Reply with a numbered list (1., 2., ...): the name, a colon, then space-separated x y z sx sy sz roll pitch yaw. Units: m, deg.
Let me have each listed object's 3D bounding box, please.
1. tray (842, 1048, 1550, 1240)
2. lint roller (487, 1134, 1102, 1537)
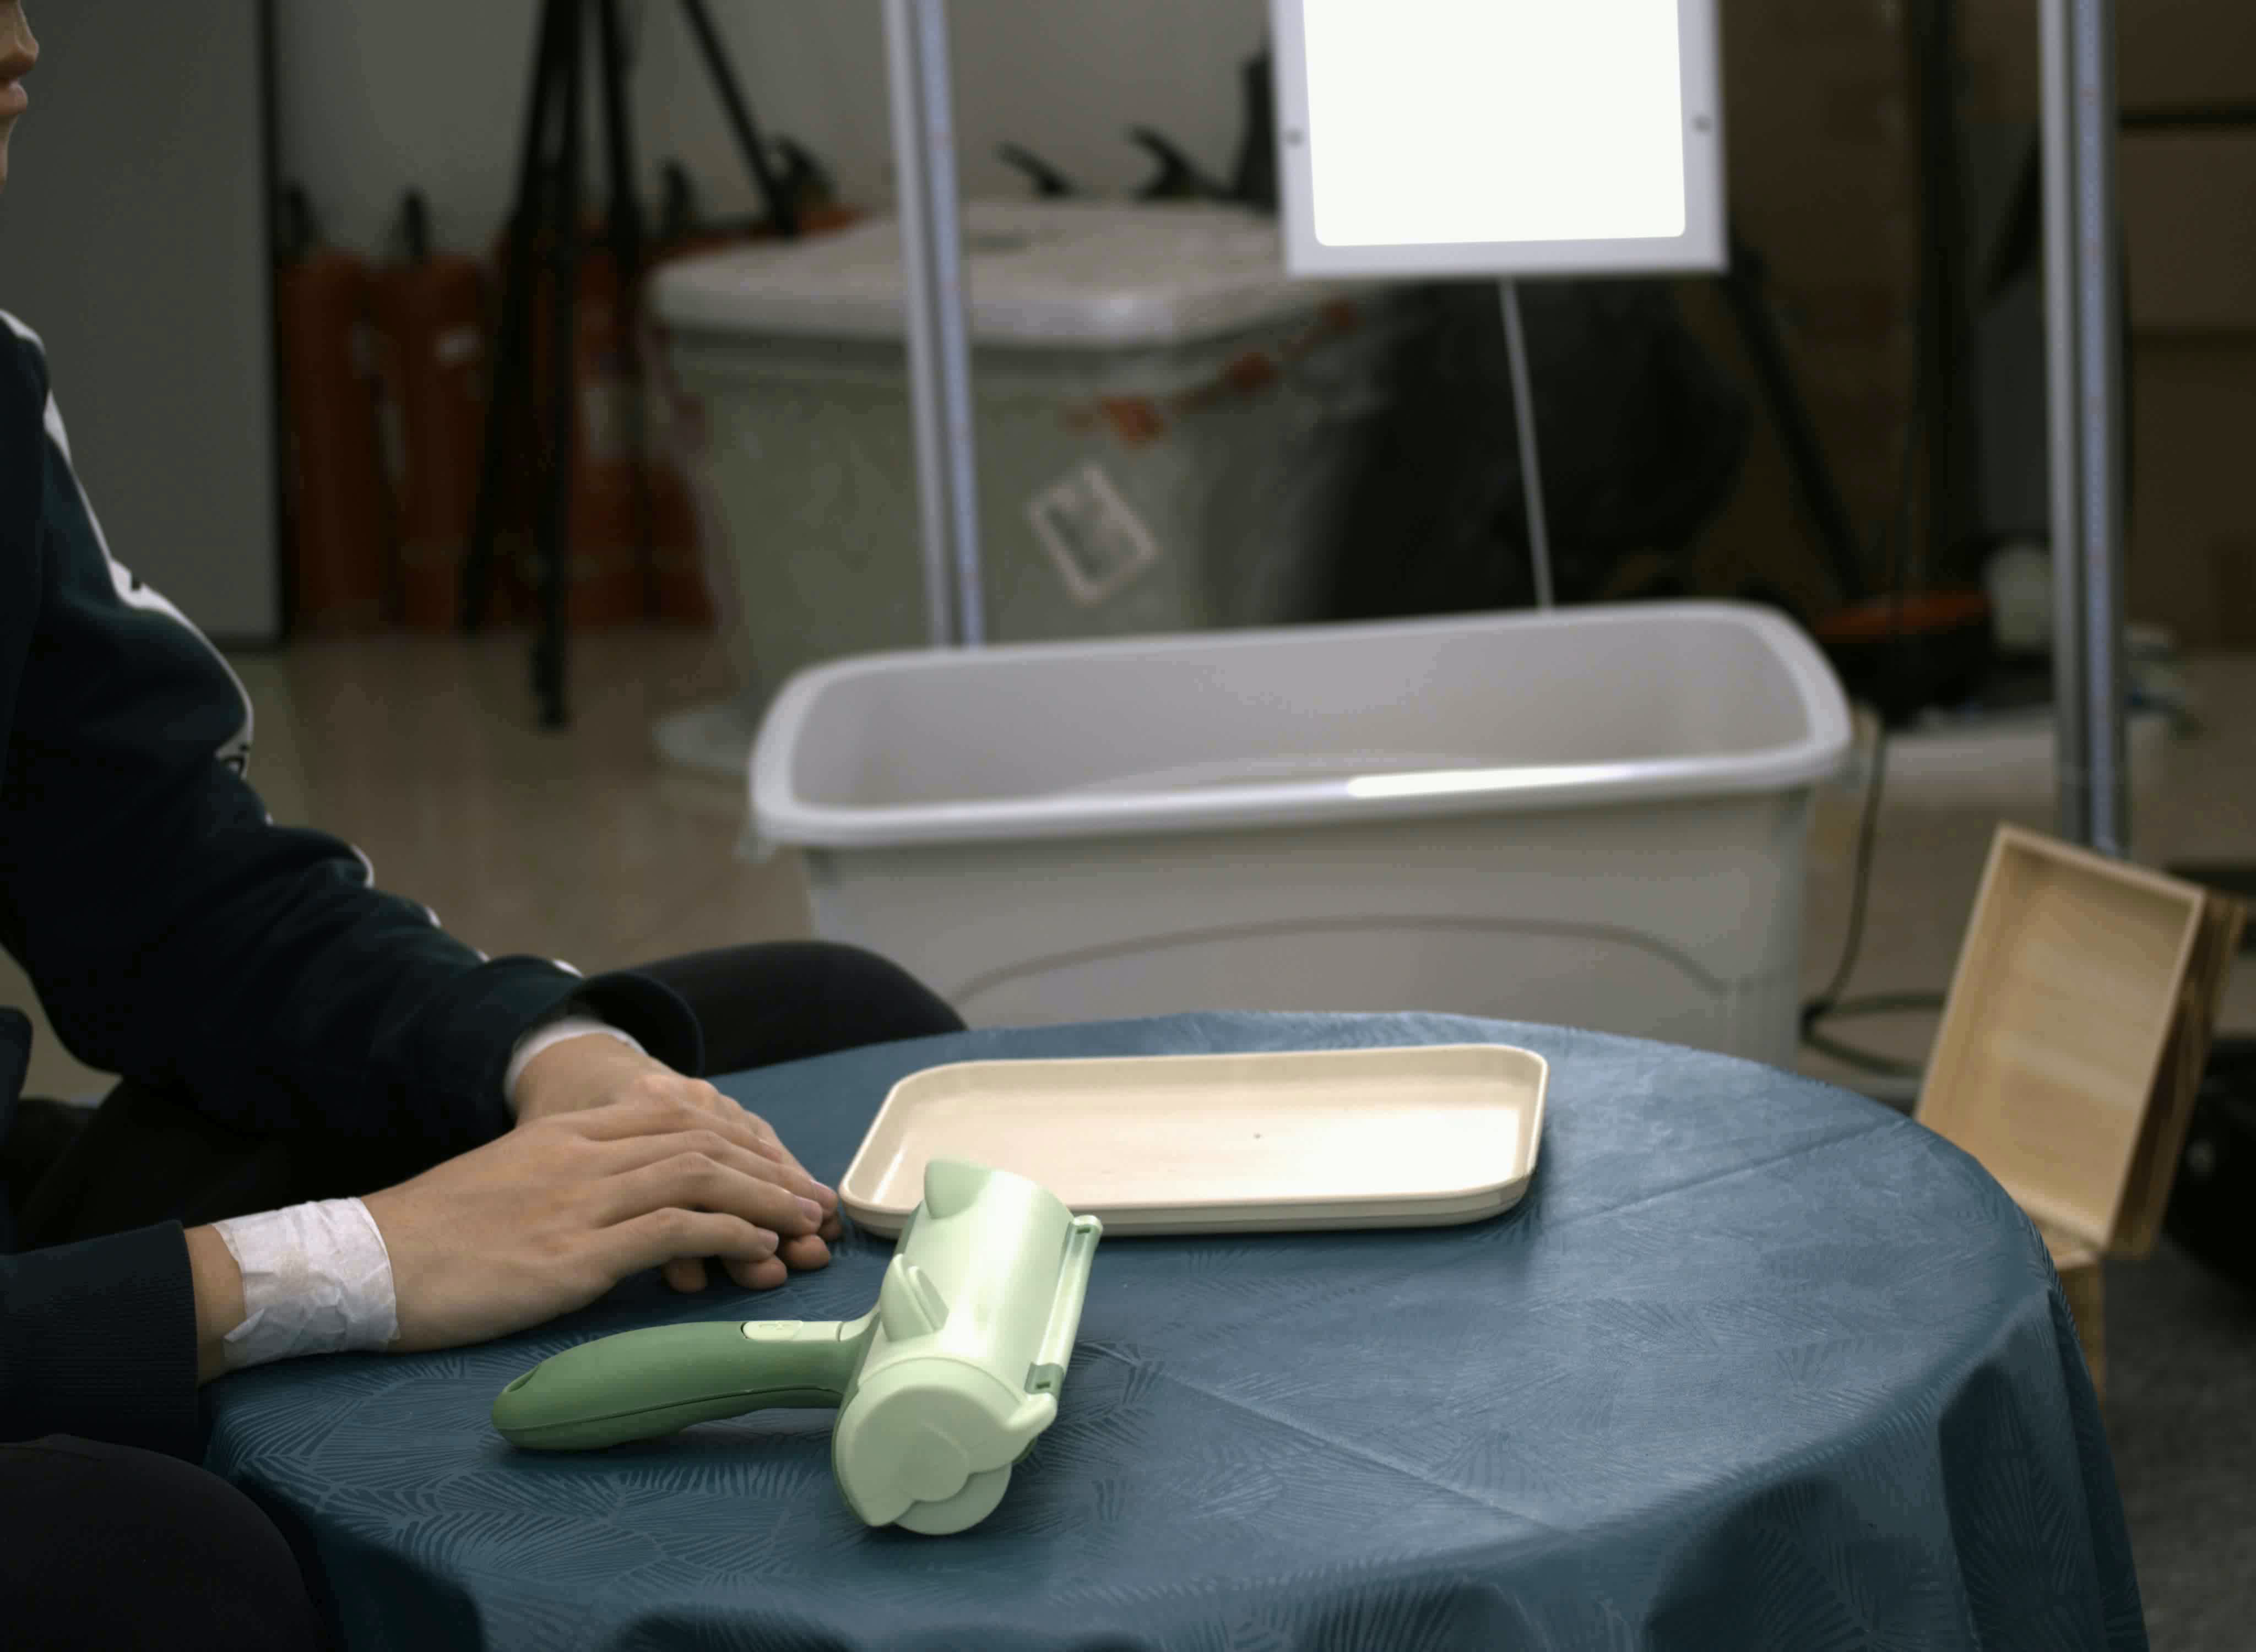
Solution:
1. tray: 0.027 0.111 1.911 0.241 0.017 0.170 -3 13 9
2. lint roller: -0.106 0.150 1.678 0.184 0.082 0.197 1 14 6
